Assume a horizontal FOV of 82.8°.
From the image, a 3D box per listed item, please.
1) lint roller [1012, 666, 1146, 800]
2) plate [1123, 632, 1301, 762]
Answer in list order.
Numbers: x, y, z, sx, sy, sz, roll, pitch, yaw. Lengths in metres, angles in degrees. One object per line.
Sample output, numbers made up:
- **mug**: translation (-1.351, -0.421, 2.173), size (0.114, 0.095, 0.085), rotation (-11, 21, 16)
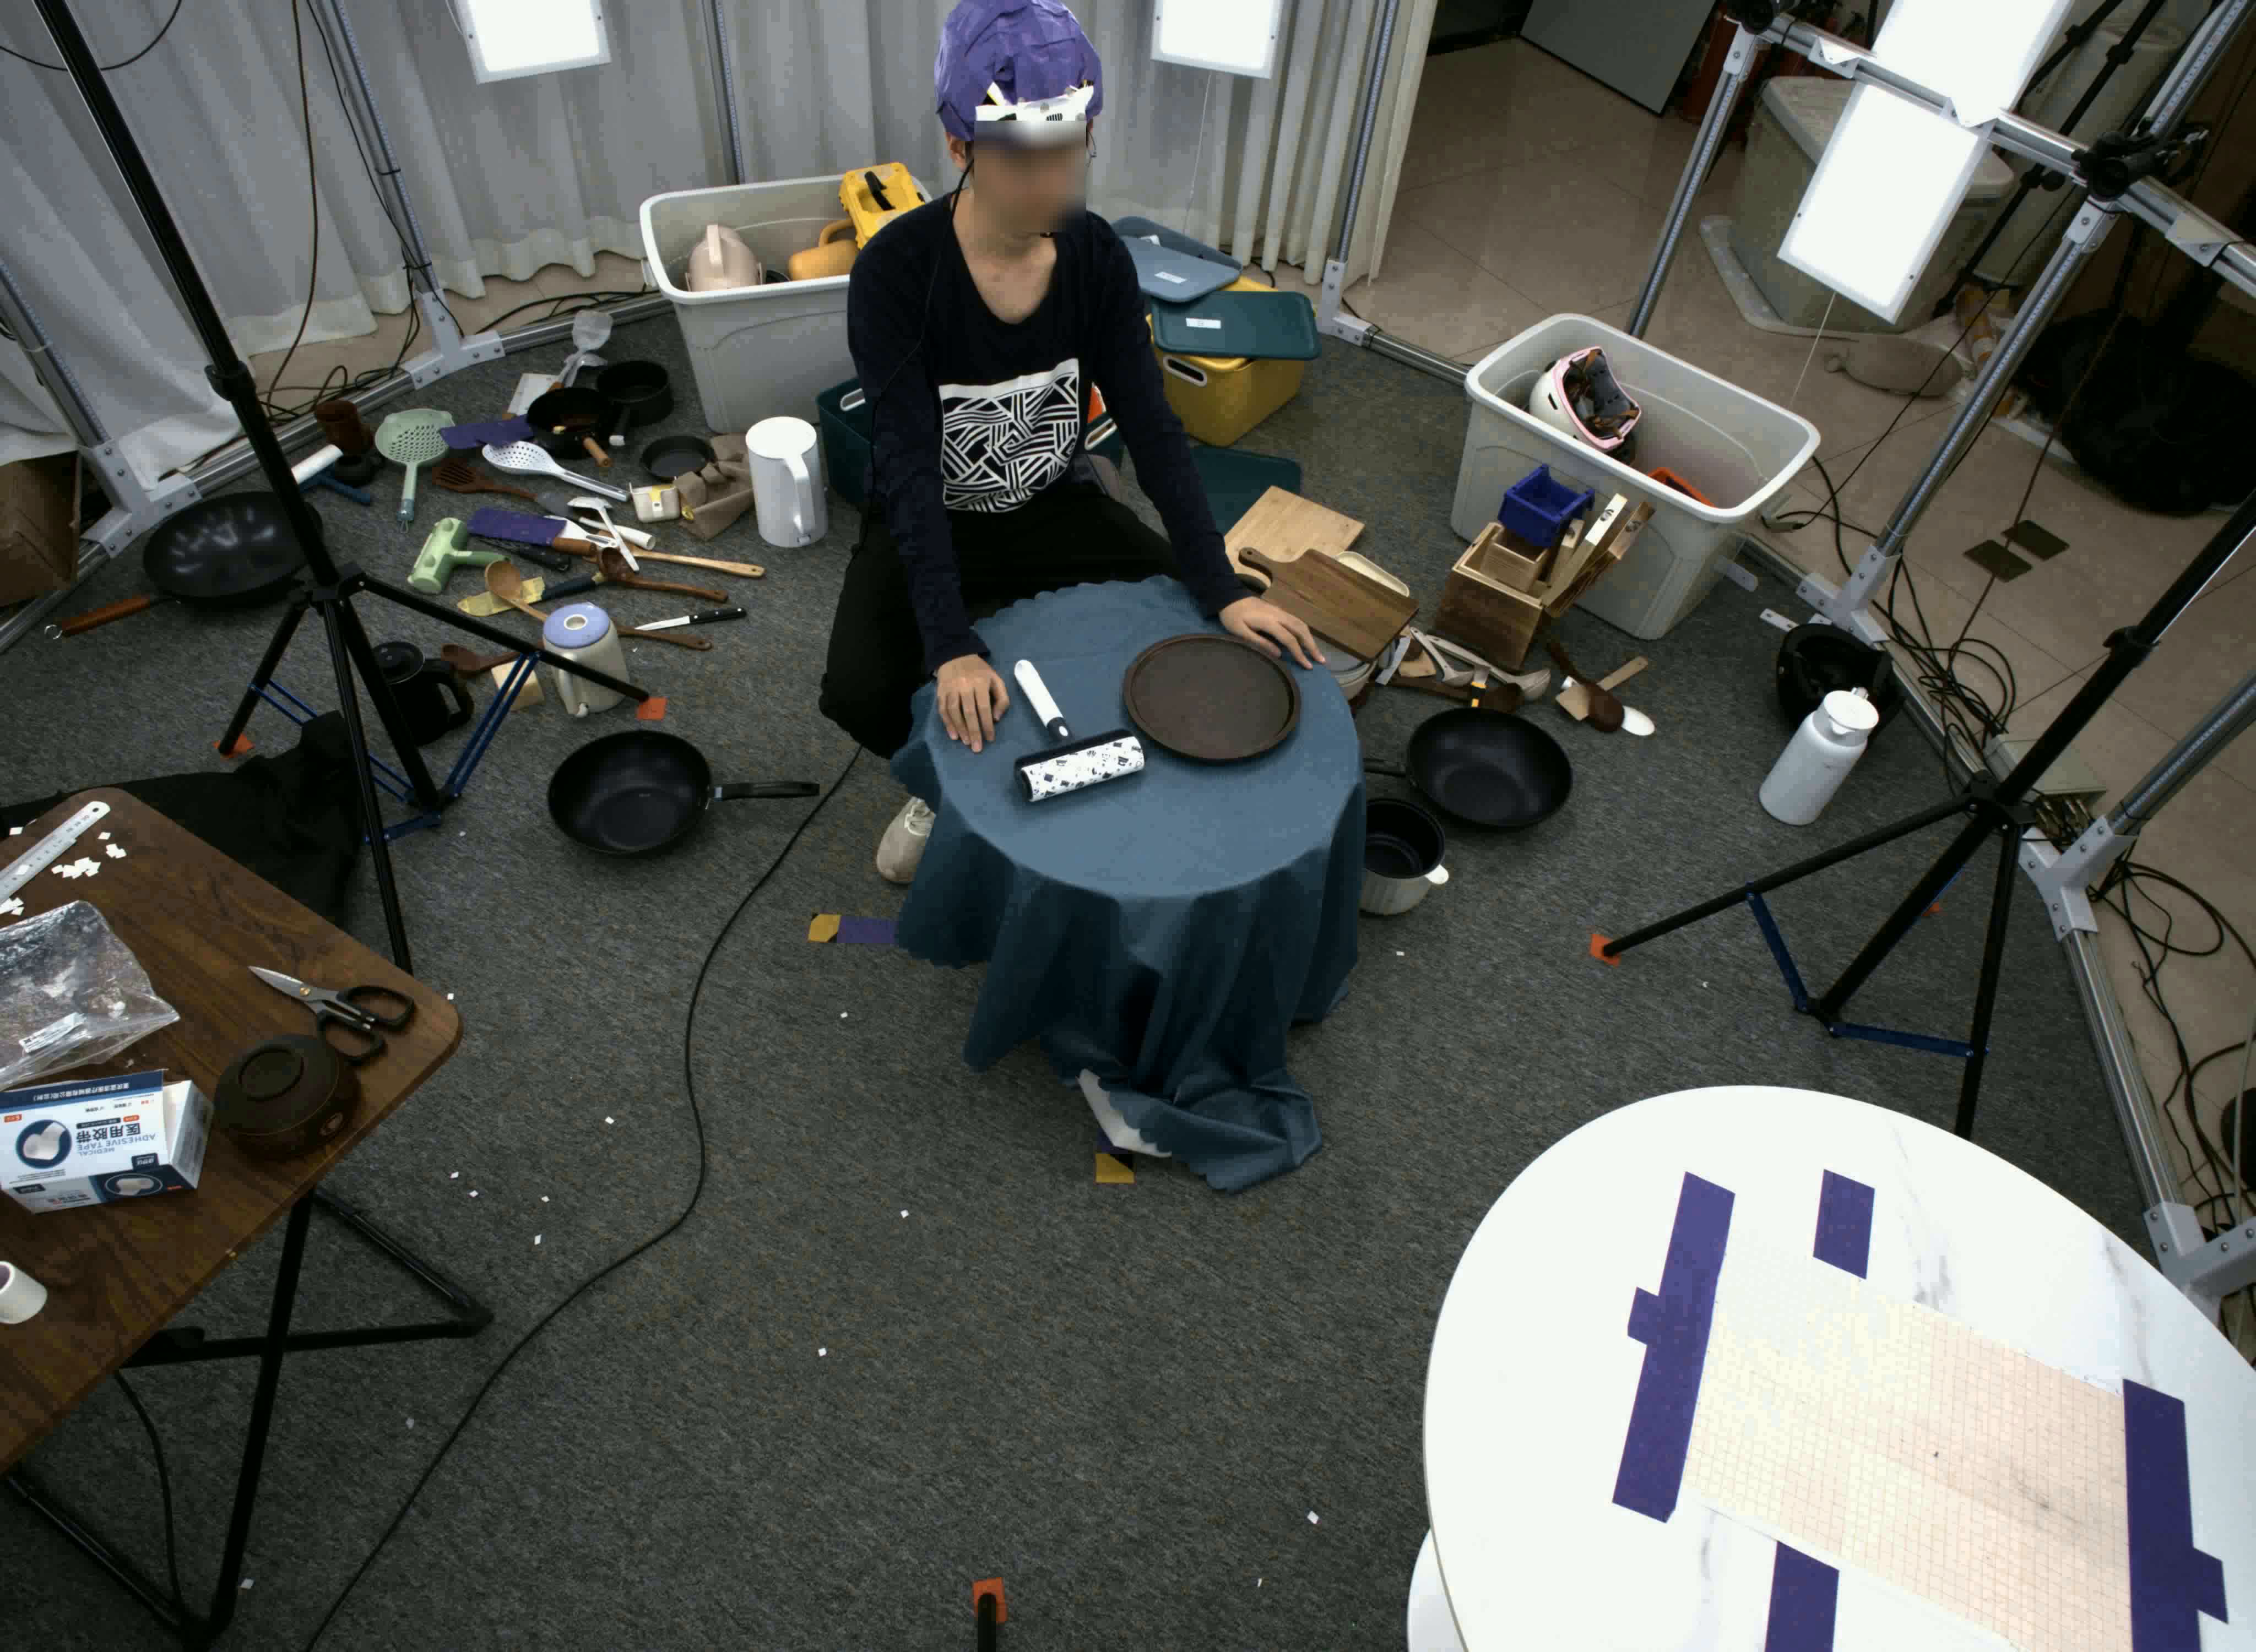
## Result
- **lint roller**: translation (-0.104, -0.146, 1.761), size (0.176, 0.049, 0.253), rotation (-18, 50, -17)
- **plate**: translation (0.119, -0.184, 1.820), size (0.254, 0.028, 0.261), rotation (2, 48, -2)
